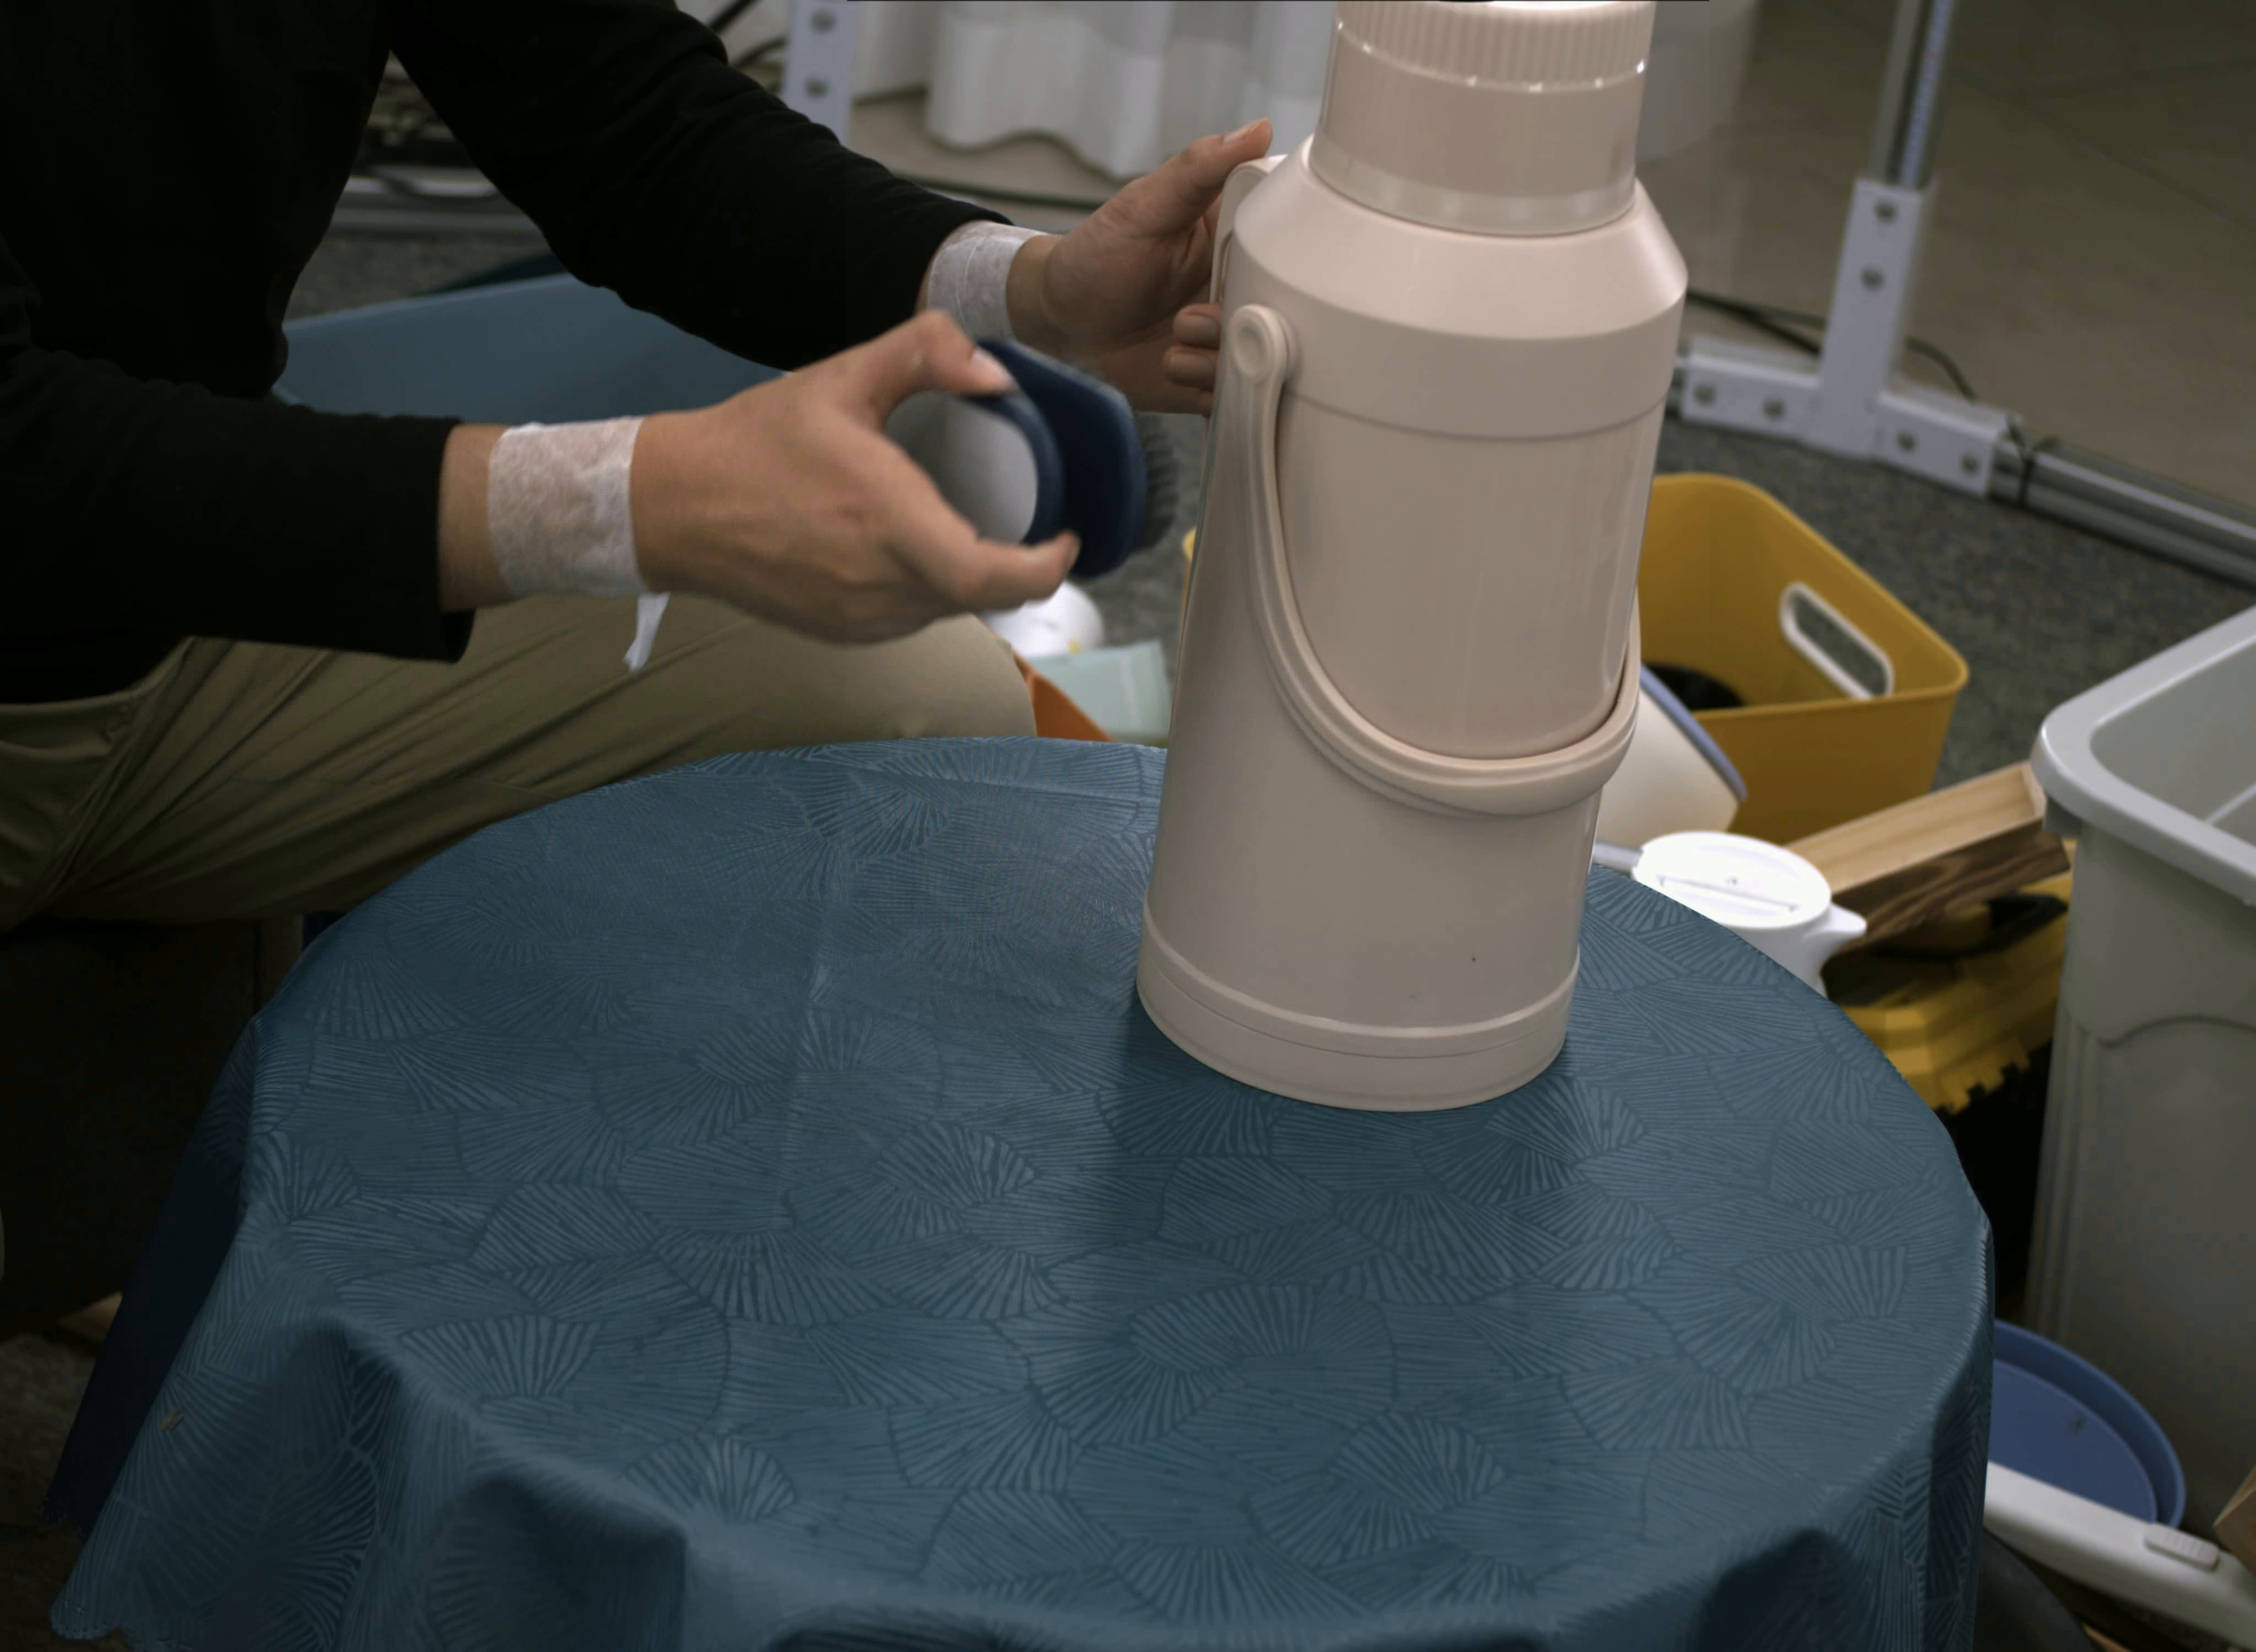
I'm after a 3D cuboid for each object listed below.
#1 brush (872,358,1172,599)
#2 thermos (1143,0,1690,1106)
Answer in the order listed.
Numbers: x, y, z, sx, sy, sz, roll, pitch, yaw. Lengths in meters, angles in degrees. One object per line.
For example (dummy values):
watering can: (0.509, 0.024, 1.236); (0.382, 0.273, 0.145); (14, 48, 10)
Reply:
brush: (-0.034, -0.117, 1.783); (0.061, 0.068, 0.122); (-4, 23, -32)
thermos: (0.096, -0.118, 1.861); (0.174, 0.405, 0.209); (-15, 34, -34)
